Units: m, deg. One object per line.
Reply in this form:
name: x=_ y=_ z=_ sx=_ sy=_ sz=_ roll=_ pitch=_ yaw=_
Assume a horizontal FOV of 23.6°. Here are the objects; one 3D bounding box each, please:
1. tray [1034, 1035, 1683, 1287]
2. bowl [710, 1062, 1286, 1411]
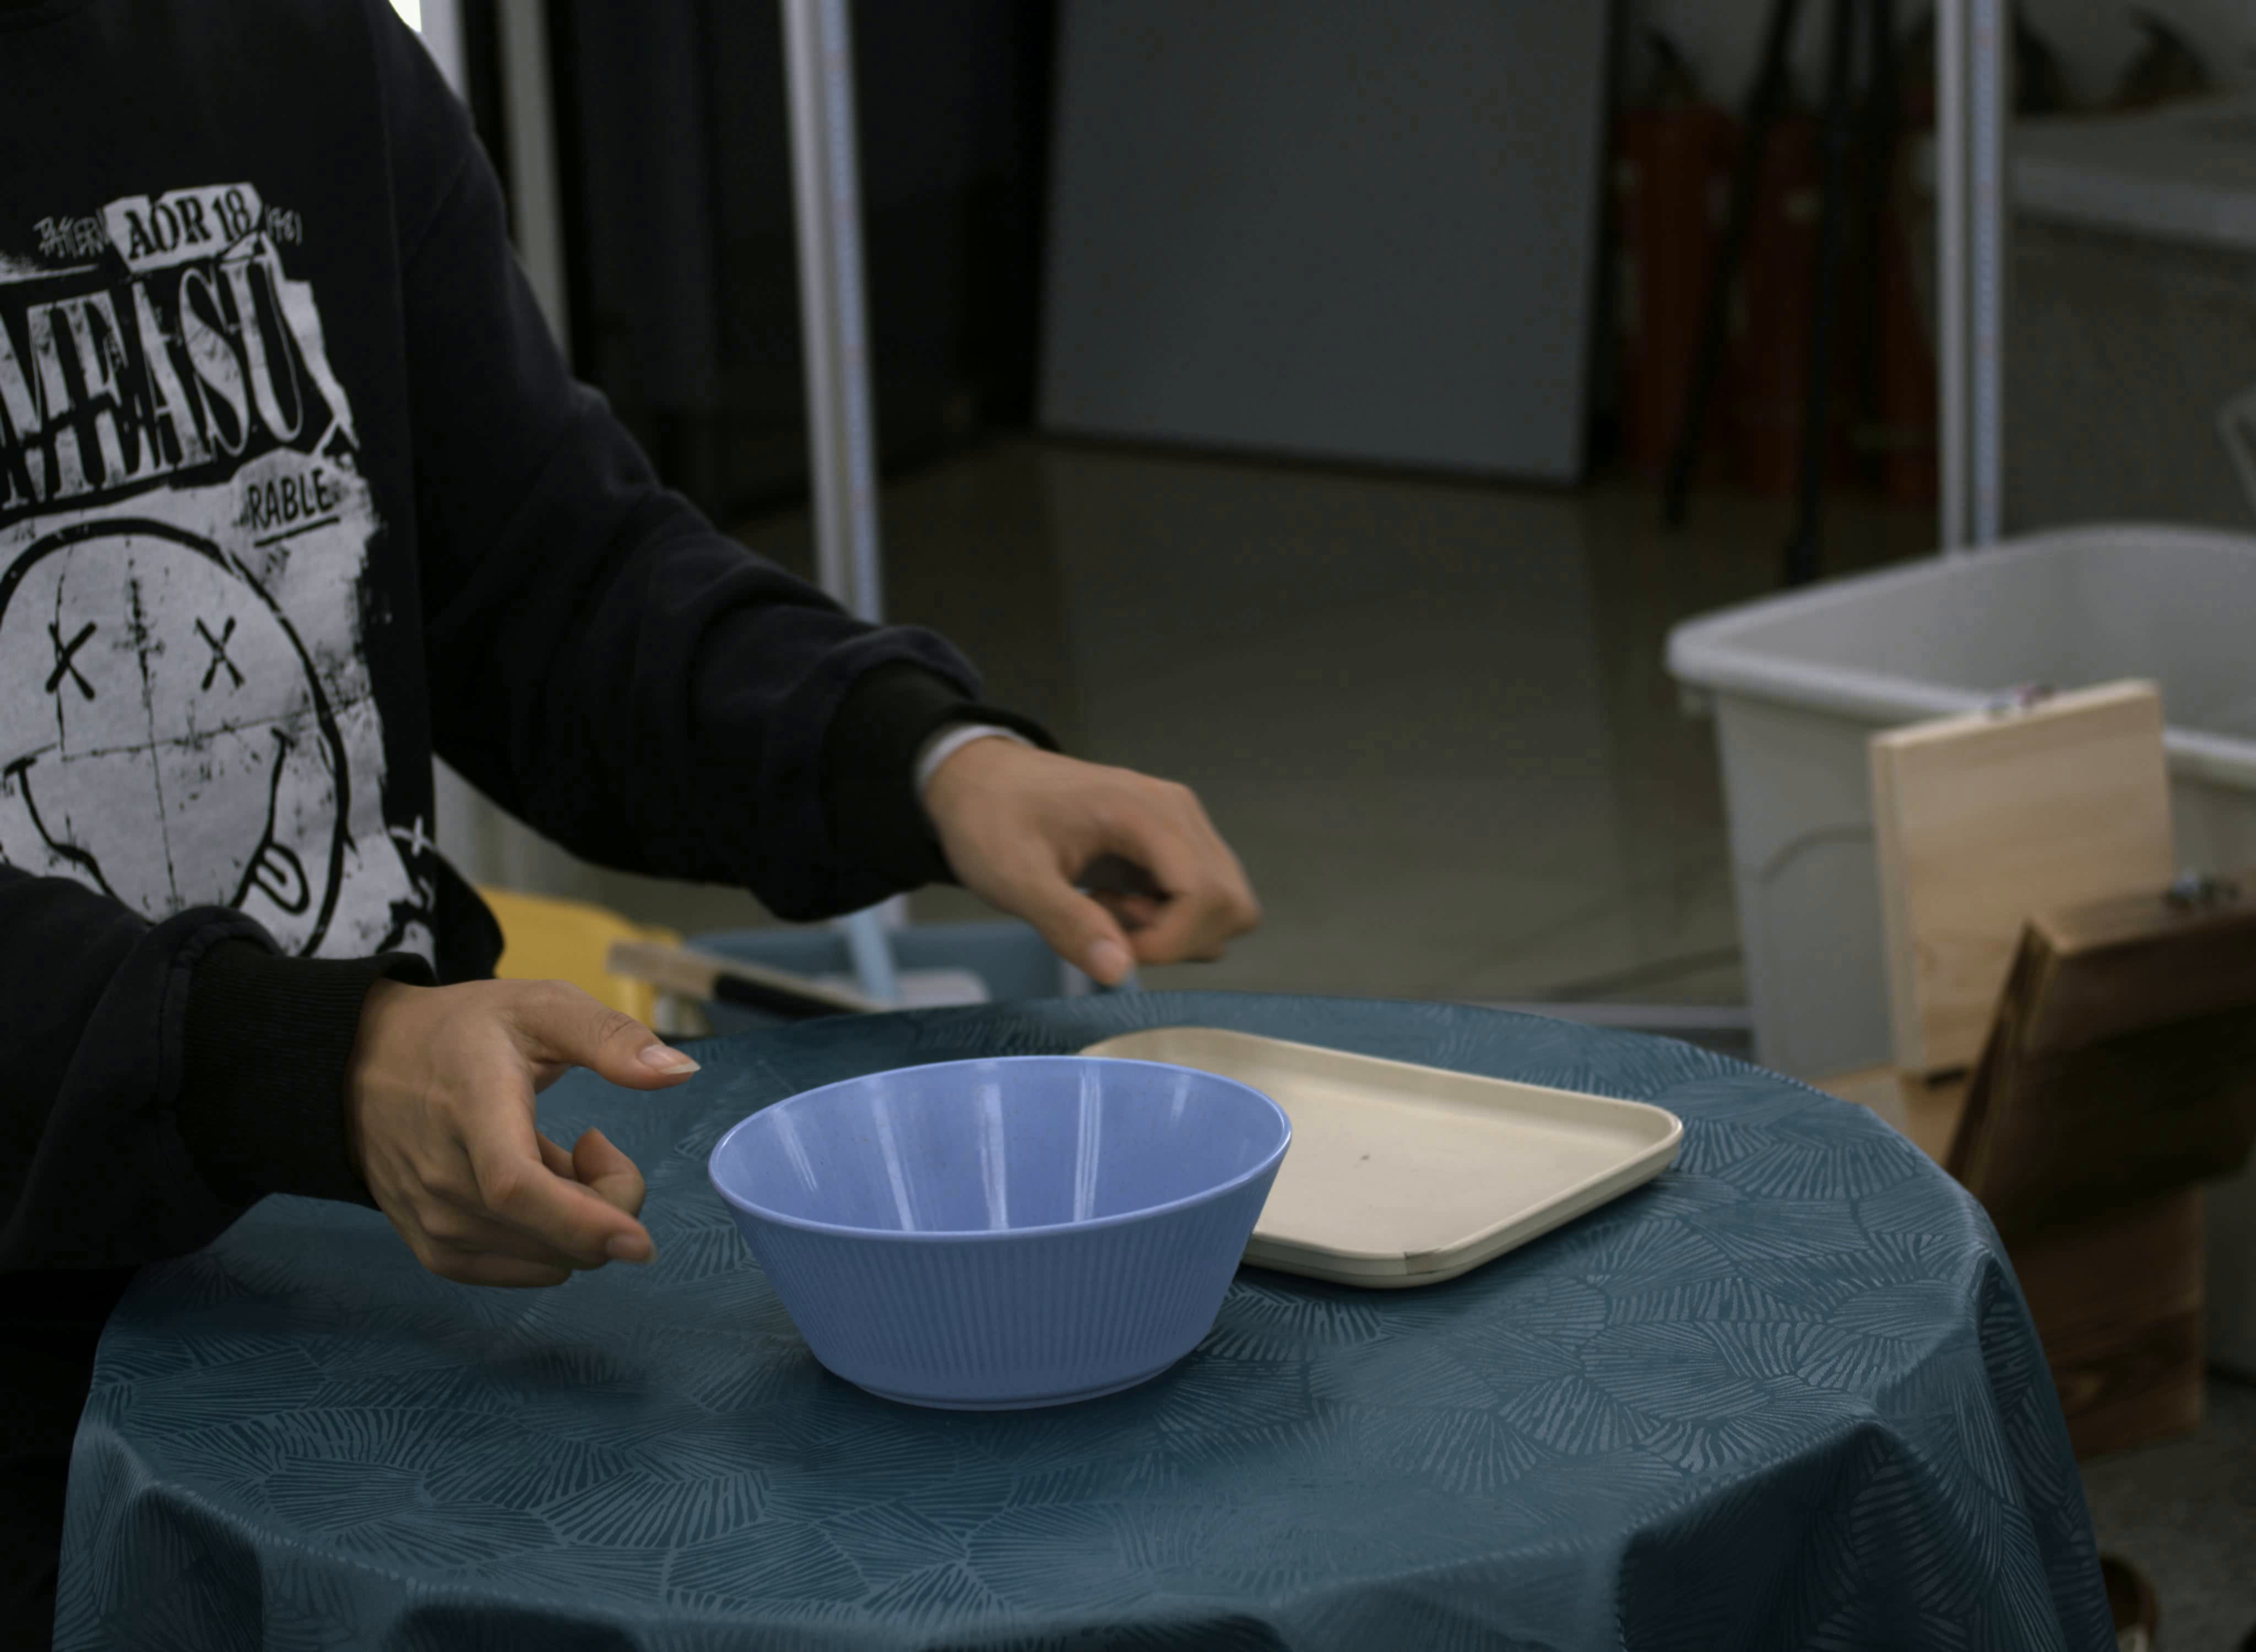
tray: x=0.050 y=0.109 z=1.769 sx=0.241 sy=0.017 sz=0.168 roll=8 pitch=18 yaw=40
bowl: x=-0.037 y=0.125 z=1.618 sx=0.174 sy=0.071 sz=0.176 roll=-4 pitch=13 yaw=0
